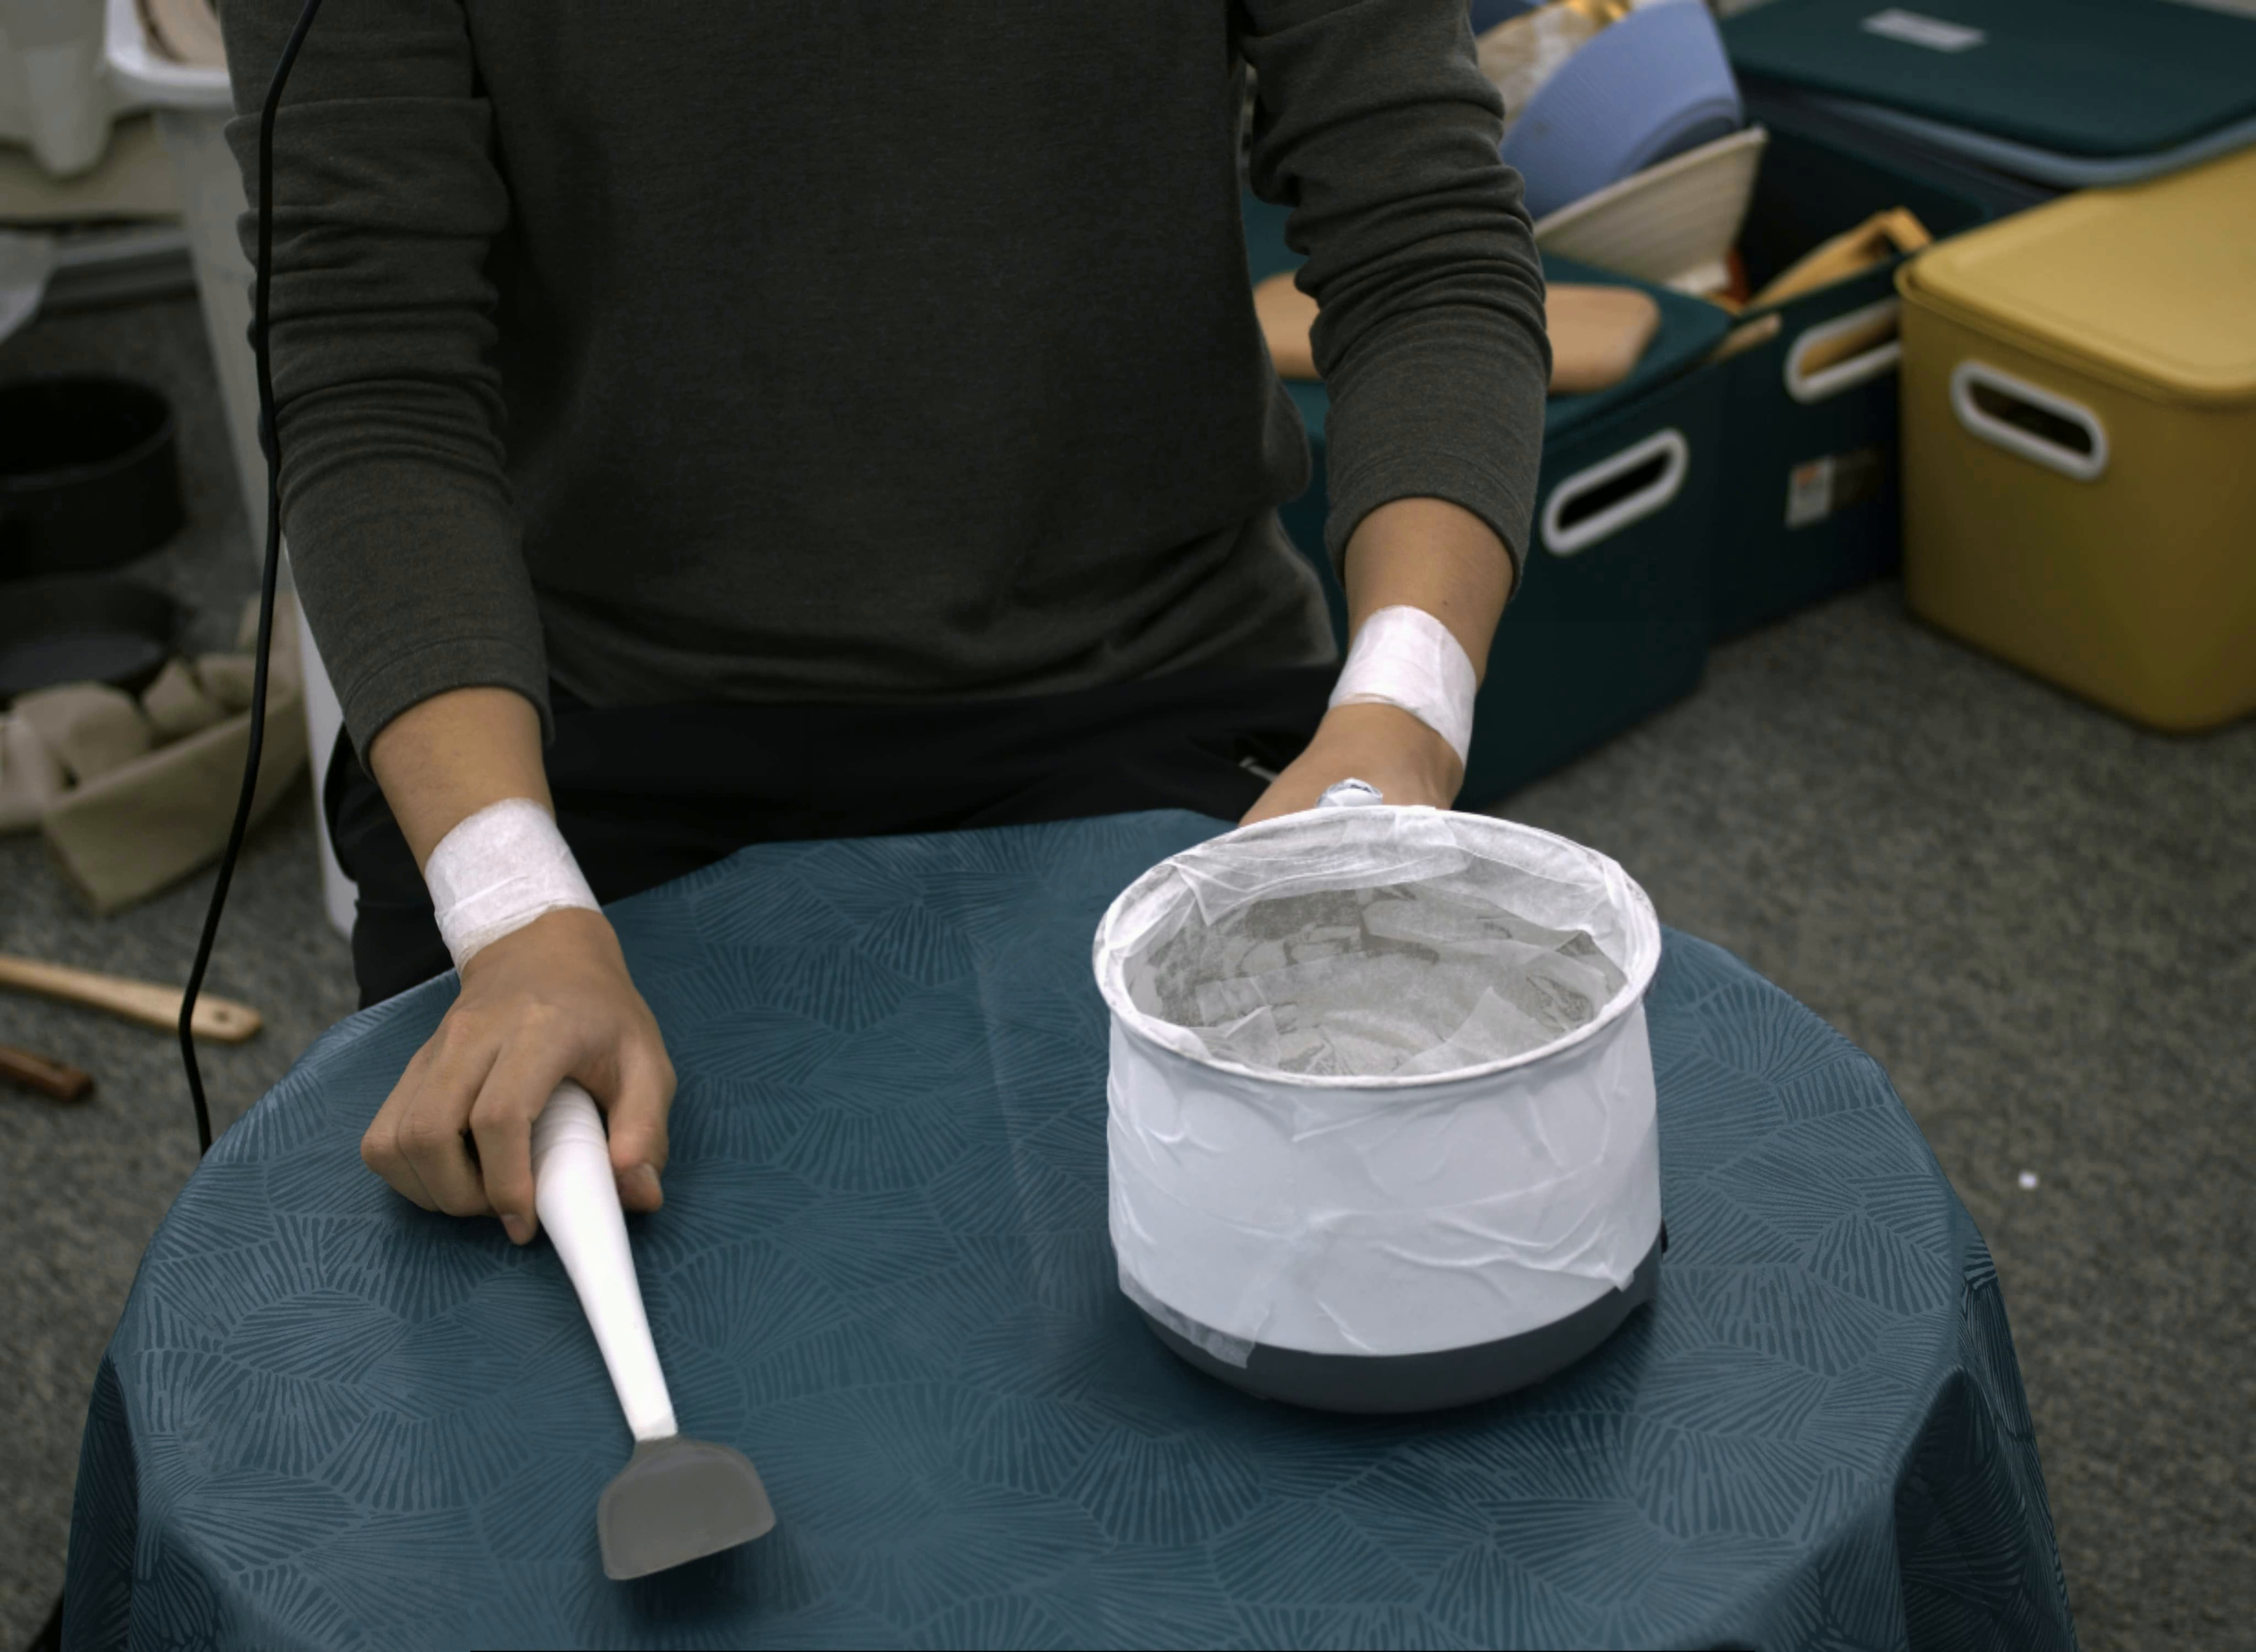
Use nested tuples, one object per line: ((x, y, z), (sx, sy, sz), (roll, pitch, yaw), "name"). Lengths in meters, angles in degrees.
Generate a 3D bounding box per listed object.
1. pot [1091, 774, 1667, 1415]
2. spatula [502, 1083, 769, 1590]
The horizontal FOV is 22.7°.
((0.078, 0.077, 1.791), (0.178, 0.135, 0.237), (-4, 27, -2), "pot")
((-0.161, 0.162, 1.764), (0.058, 0.032, 0.290), (-14, 28, -8), "spatula")
